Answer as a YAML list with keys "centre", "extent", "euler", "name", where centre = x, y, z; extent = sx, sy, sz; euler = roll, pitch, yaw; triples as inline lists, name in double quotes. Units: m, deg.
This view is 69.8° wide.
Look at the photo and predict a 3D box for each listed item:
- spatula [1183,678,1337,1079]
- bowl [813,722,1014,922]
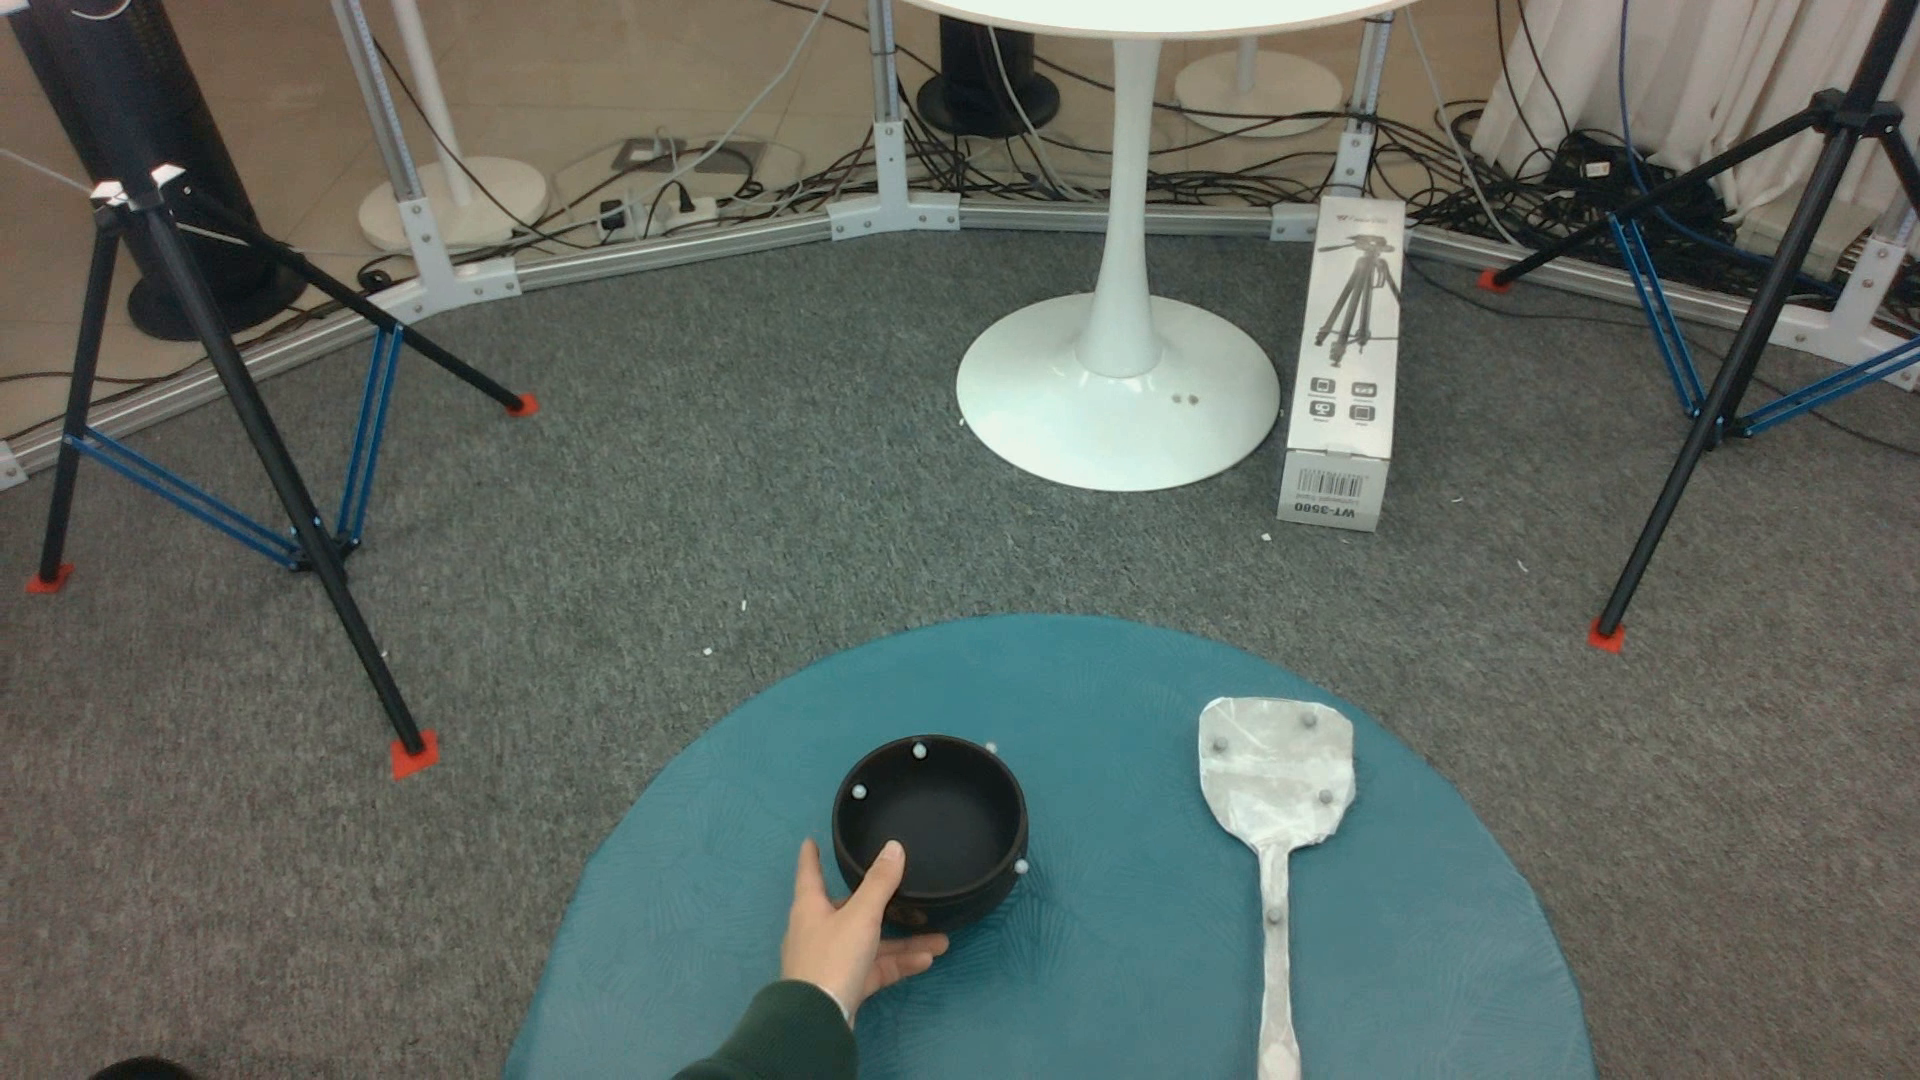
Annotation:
- centre: [0.167, 0.223, 0.783]
  extent: [0.098, 0.044, 0.367]
  euler: [6, 40, 8]
  name: "spatula"
- centre: [-0.026, 0.175, 0.824]
  extent: [0.118, 0.069, 0.118]
  euler: [-1, 45, 2]
  name: "bowl"
